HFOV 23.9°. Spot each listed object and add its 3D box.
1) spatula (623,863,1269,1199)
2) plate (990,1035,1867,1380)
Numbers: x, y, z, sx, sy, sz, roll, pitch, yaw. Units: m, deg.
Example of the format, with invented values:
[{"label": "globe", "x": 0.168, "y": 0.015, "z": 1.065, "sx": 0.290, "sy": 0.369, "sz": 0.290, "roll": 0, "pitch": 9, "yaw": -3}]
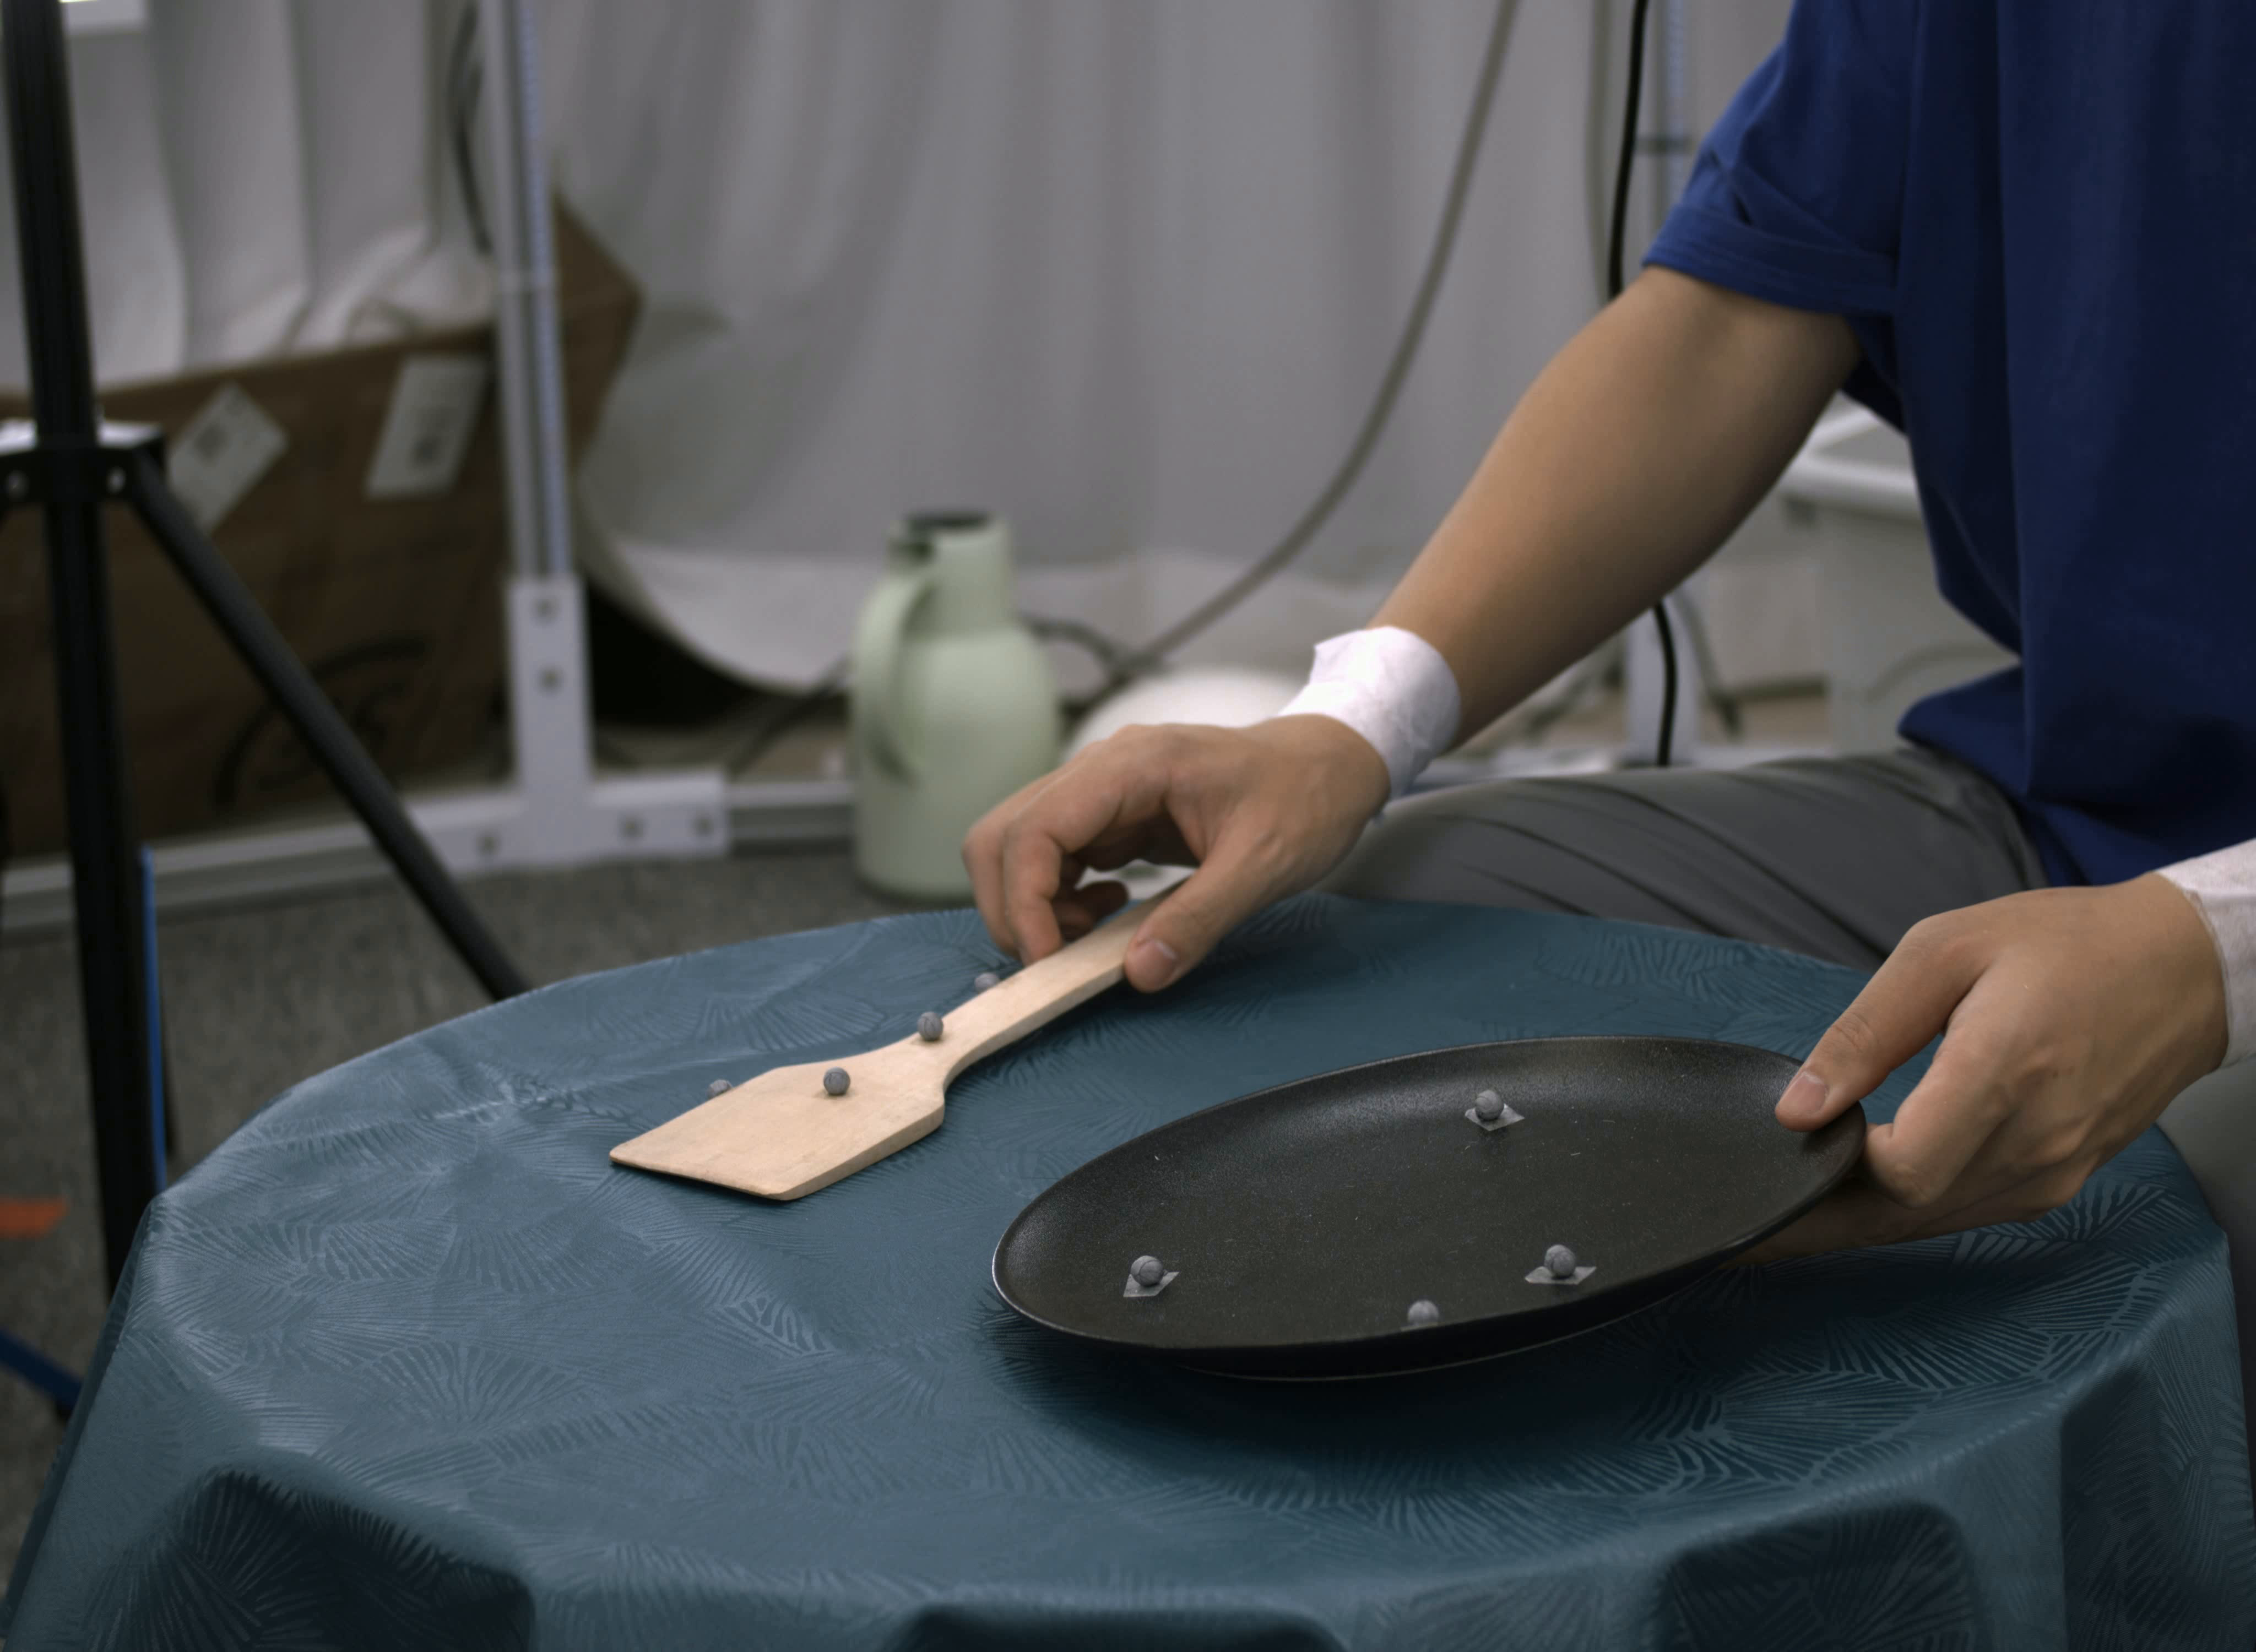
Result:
[{"label": "spatula", "x": -0.044, "y": 0.061, "z": 1.689, "sx": 0.074, "sy": 0.010, "sz": 0.287, "roll": 9, "pitch": 24, "yaw": 35}, {"label": "plate", "x": 0.083, "y": 0.107, "z": 1.453, "sx": 0.243, "sy": 0.023, "sz": 0.245, "roll": -12, "pitch": 14, "yaw": 1}]
